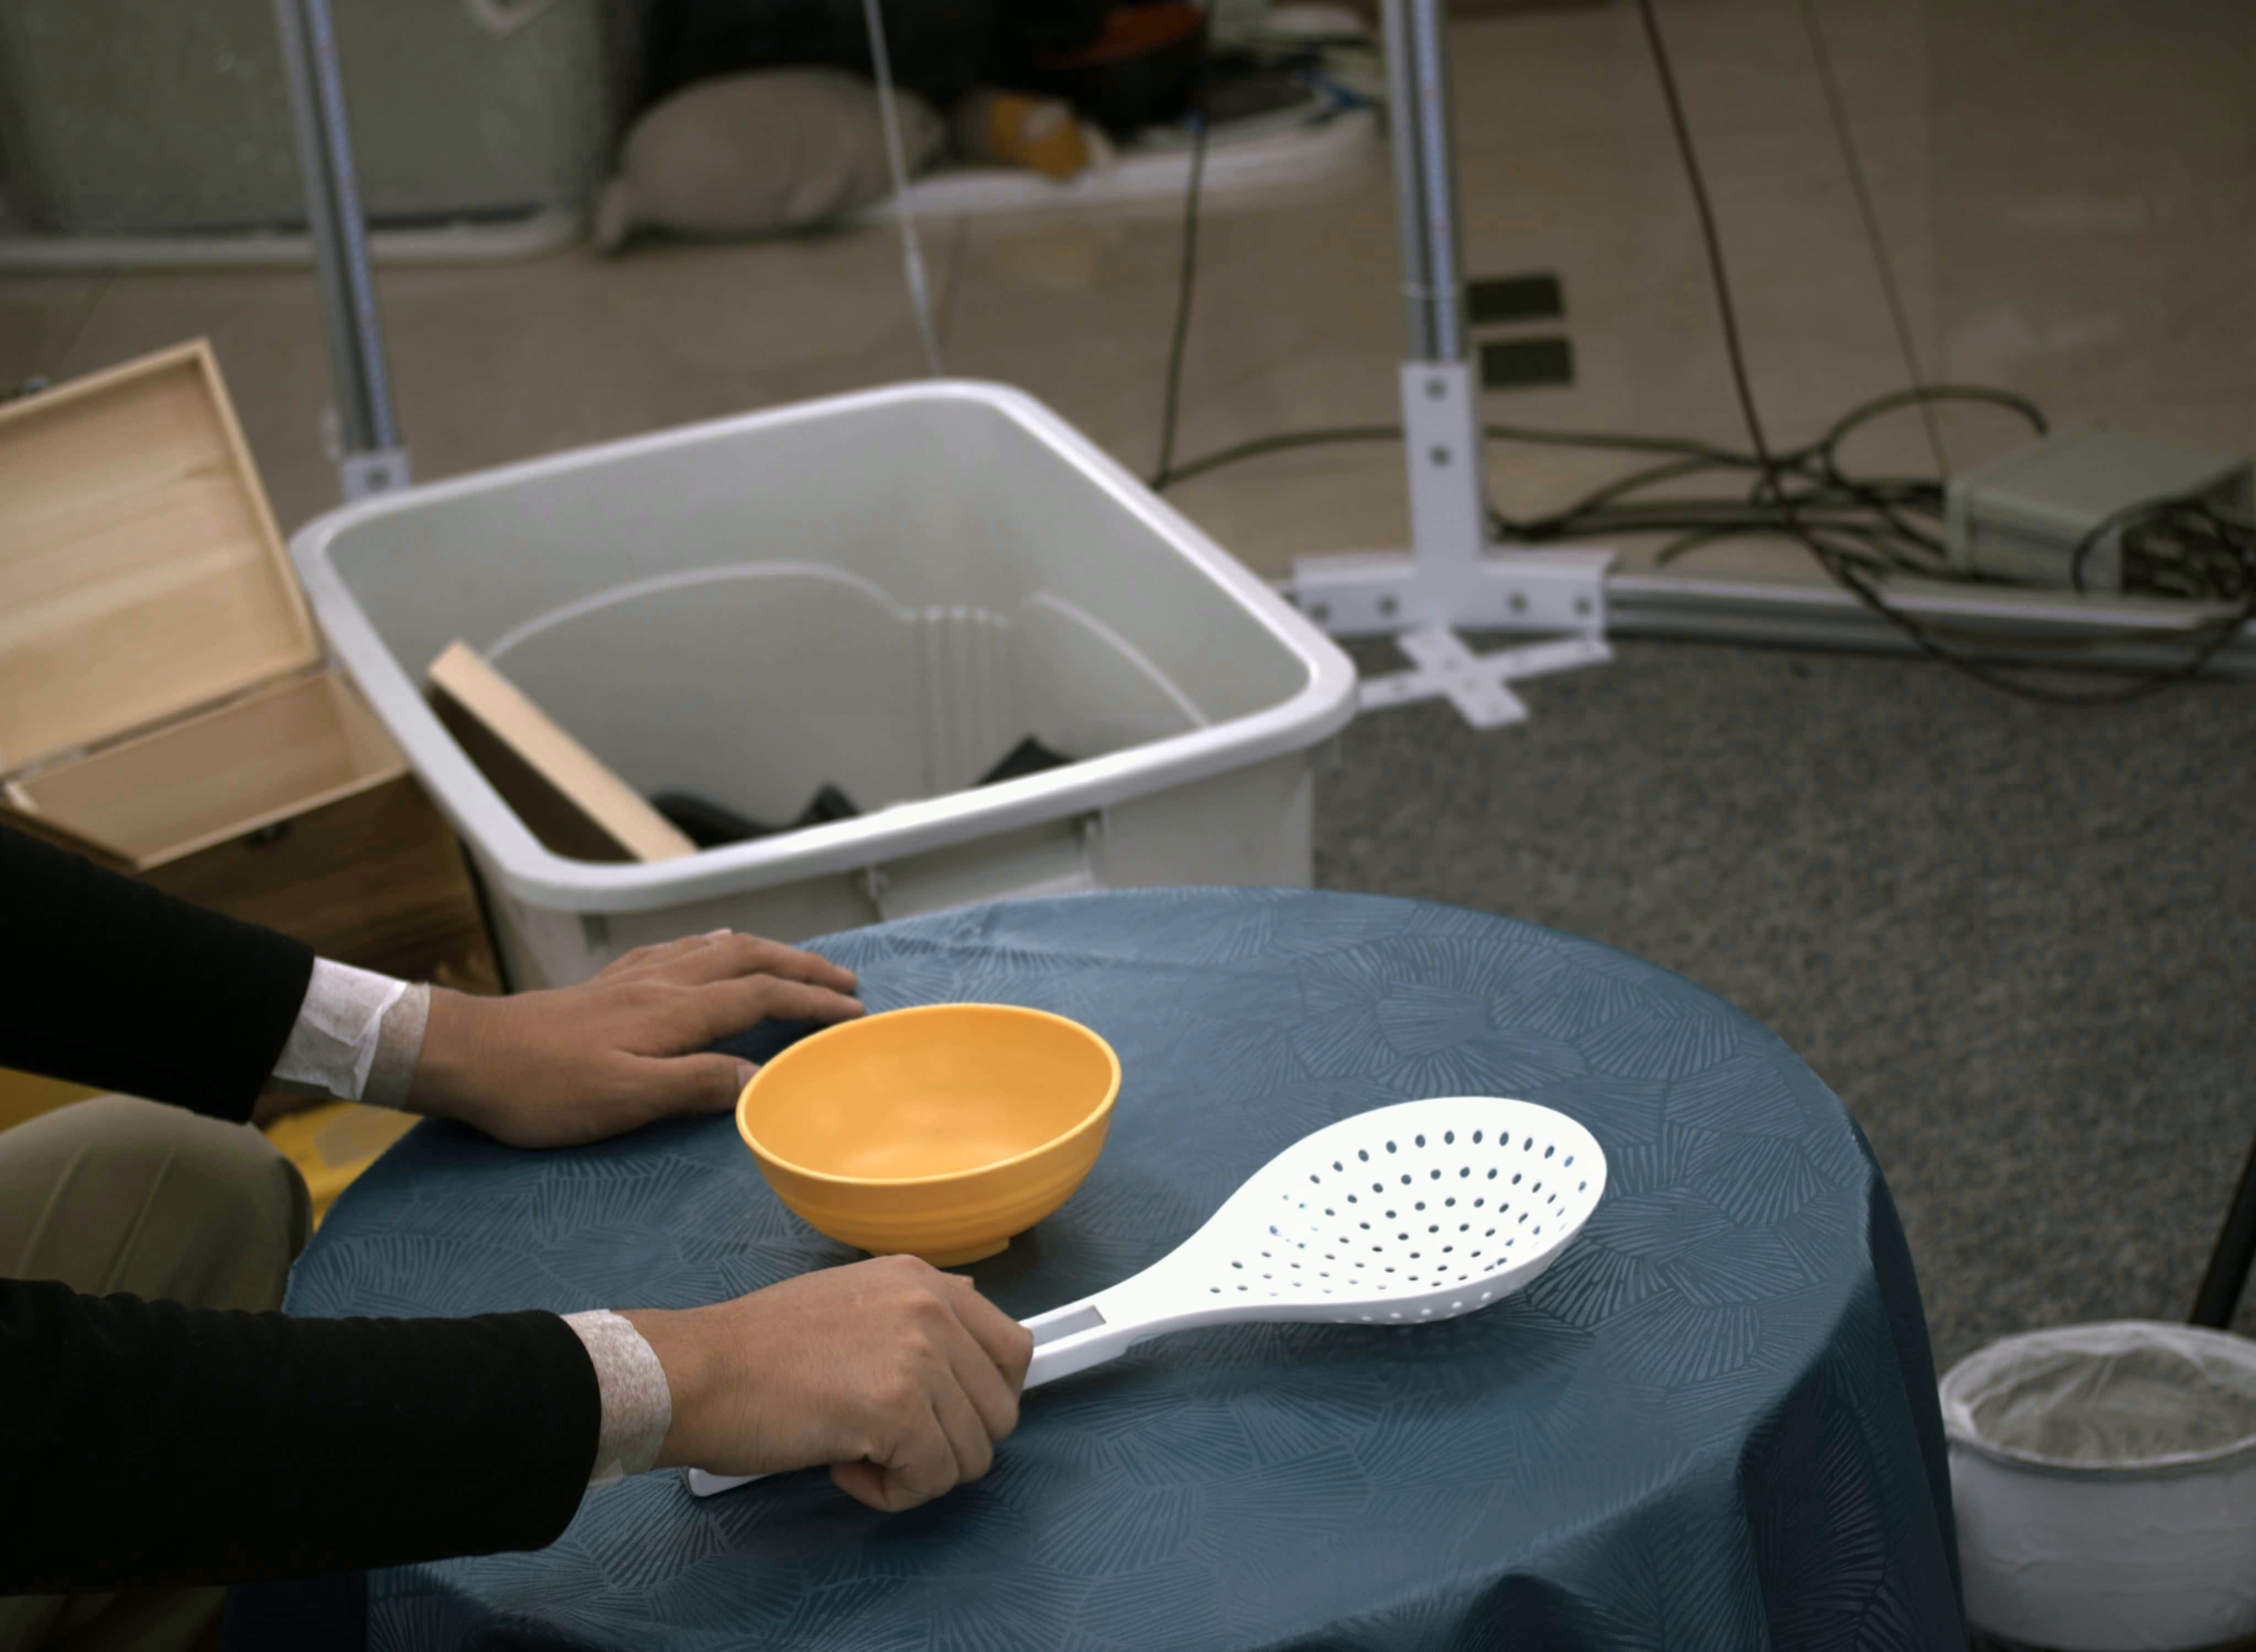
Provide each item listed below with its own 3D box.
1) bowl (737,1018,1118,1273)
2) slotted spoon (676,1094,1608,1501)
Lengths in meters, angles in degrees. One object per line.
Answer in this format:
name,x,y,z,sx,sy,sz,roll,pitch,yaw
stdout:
bowl,-0.073,0.127,2.125,0.145,0.061,0.143,-5,23,2
slotted spoon,0.007,0.173,2.019,0.348,0.046,0.134,-14,28,-14
